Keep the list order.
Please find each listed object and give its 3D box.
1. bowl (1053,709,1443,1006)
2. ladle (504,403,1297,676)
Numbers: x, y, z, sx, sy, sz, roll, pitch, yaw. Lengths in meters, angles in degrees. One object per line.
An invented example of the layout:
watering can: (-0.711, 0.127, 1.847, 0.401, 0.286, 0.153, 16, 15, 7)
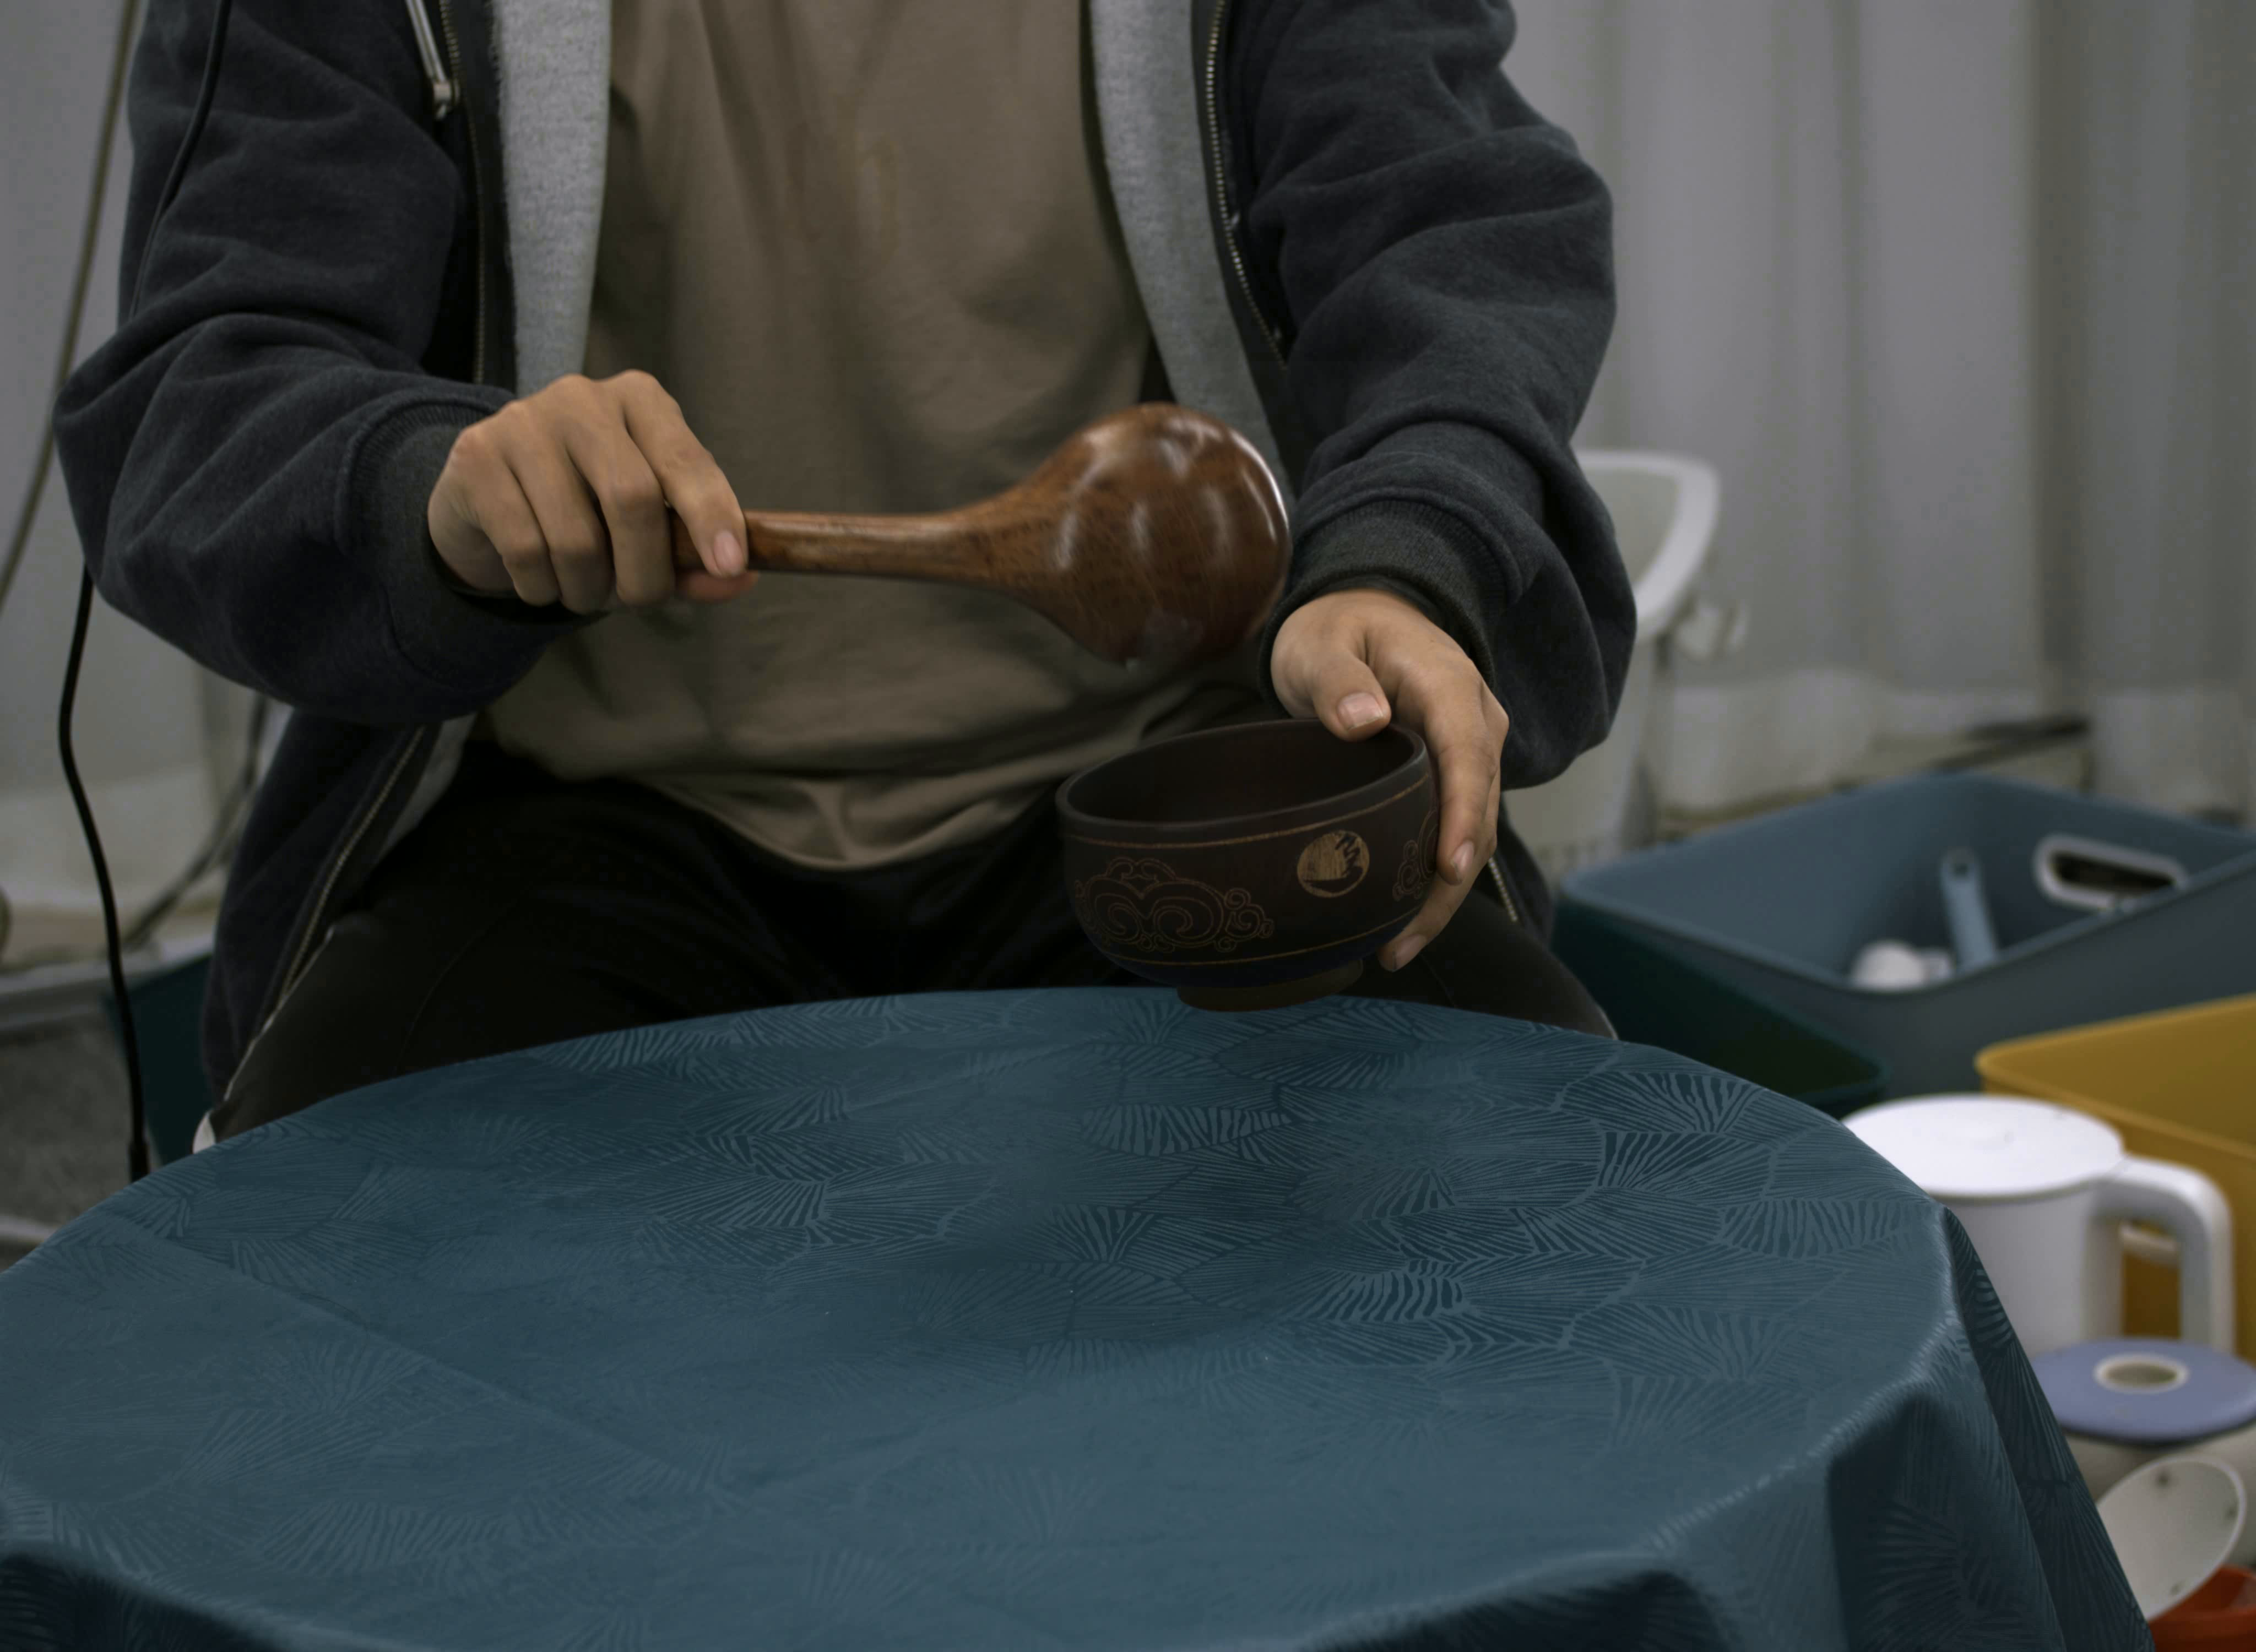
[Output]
bowl: (0.039, 0.013, 1.662, 0.117, 0.069, 0.119, -9, 14, 2)
ladle: (-0.072, -0.089, 1.704, 0.275, 0.082, 0.076, 2, 6, 39)
